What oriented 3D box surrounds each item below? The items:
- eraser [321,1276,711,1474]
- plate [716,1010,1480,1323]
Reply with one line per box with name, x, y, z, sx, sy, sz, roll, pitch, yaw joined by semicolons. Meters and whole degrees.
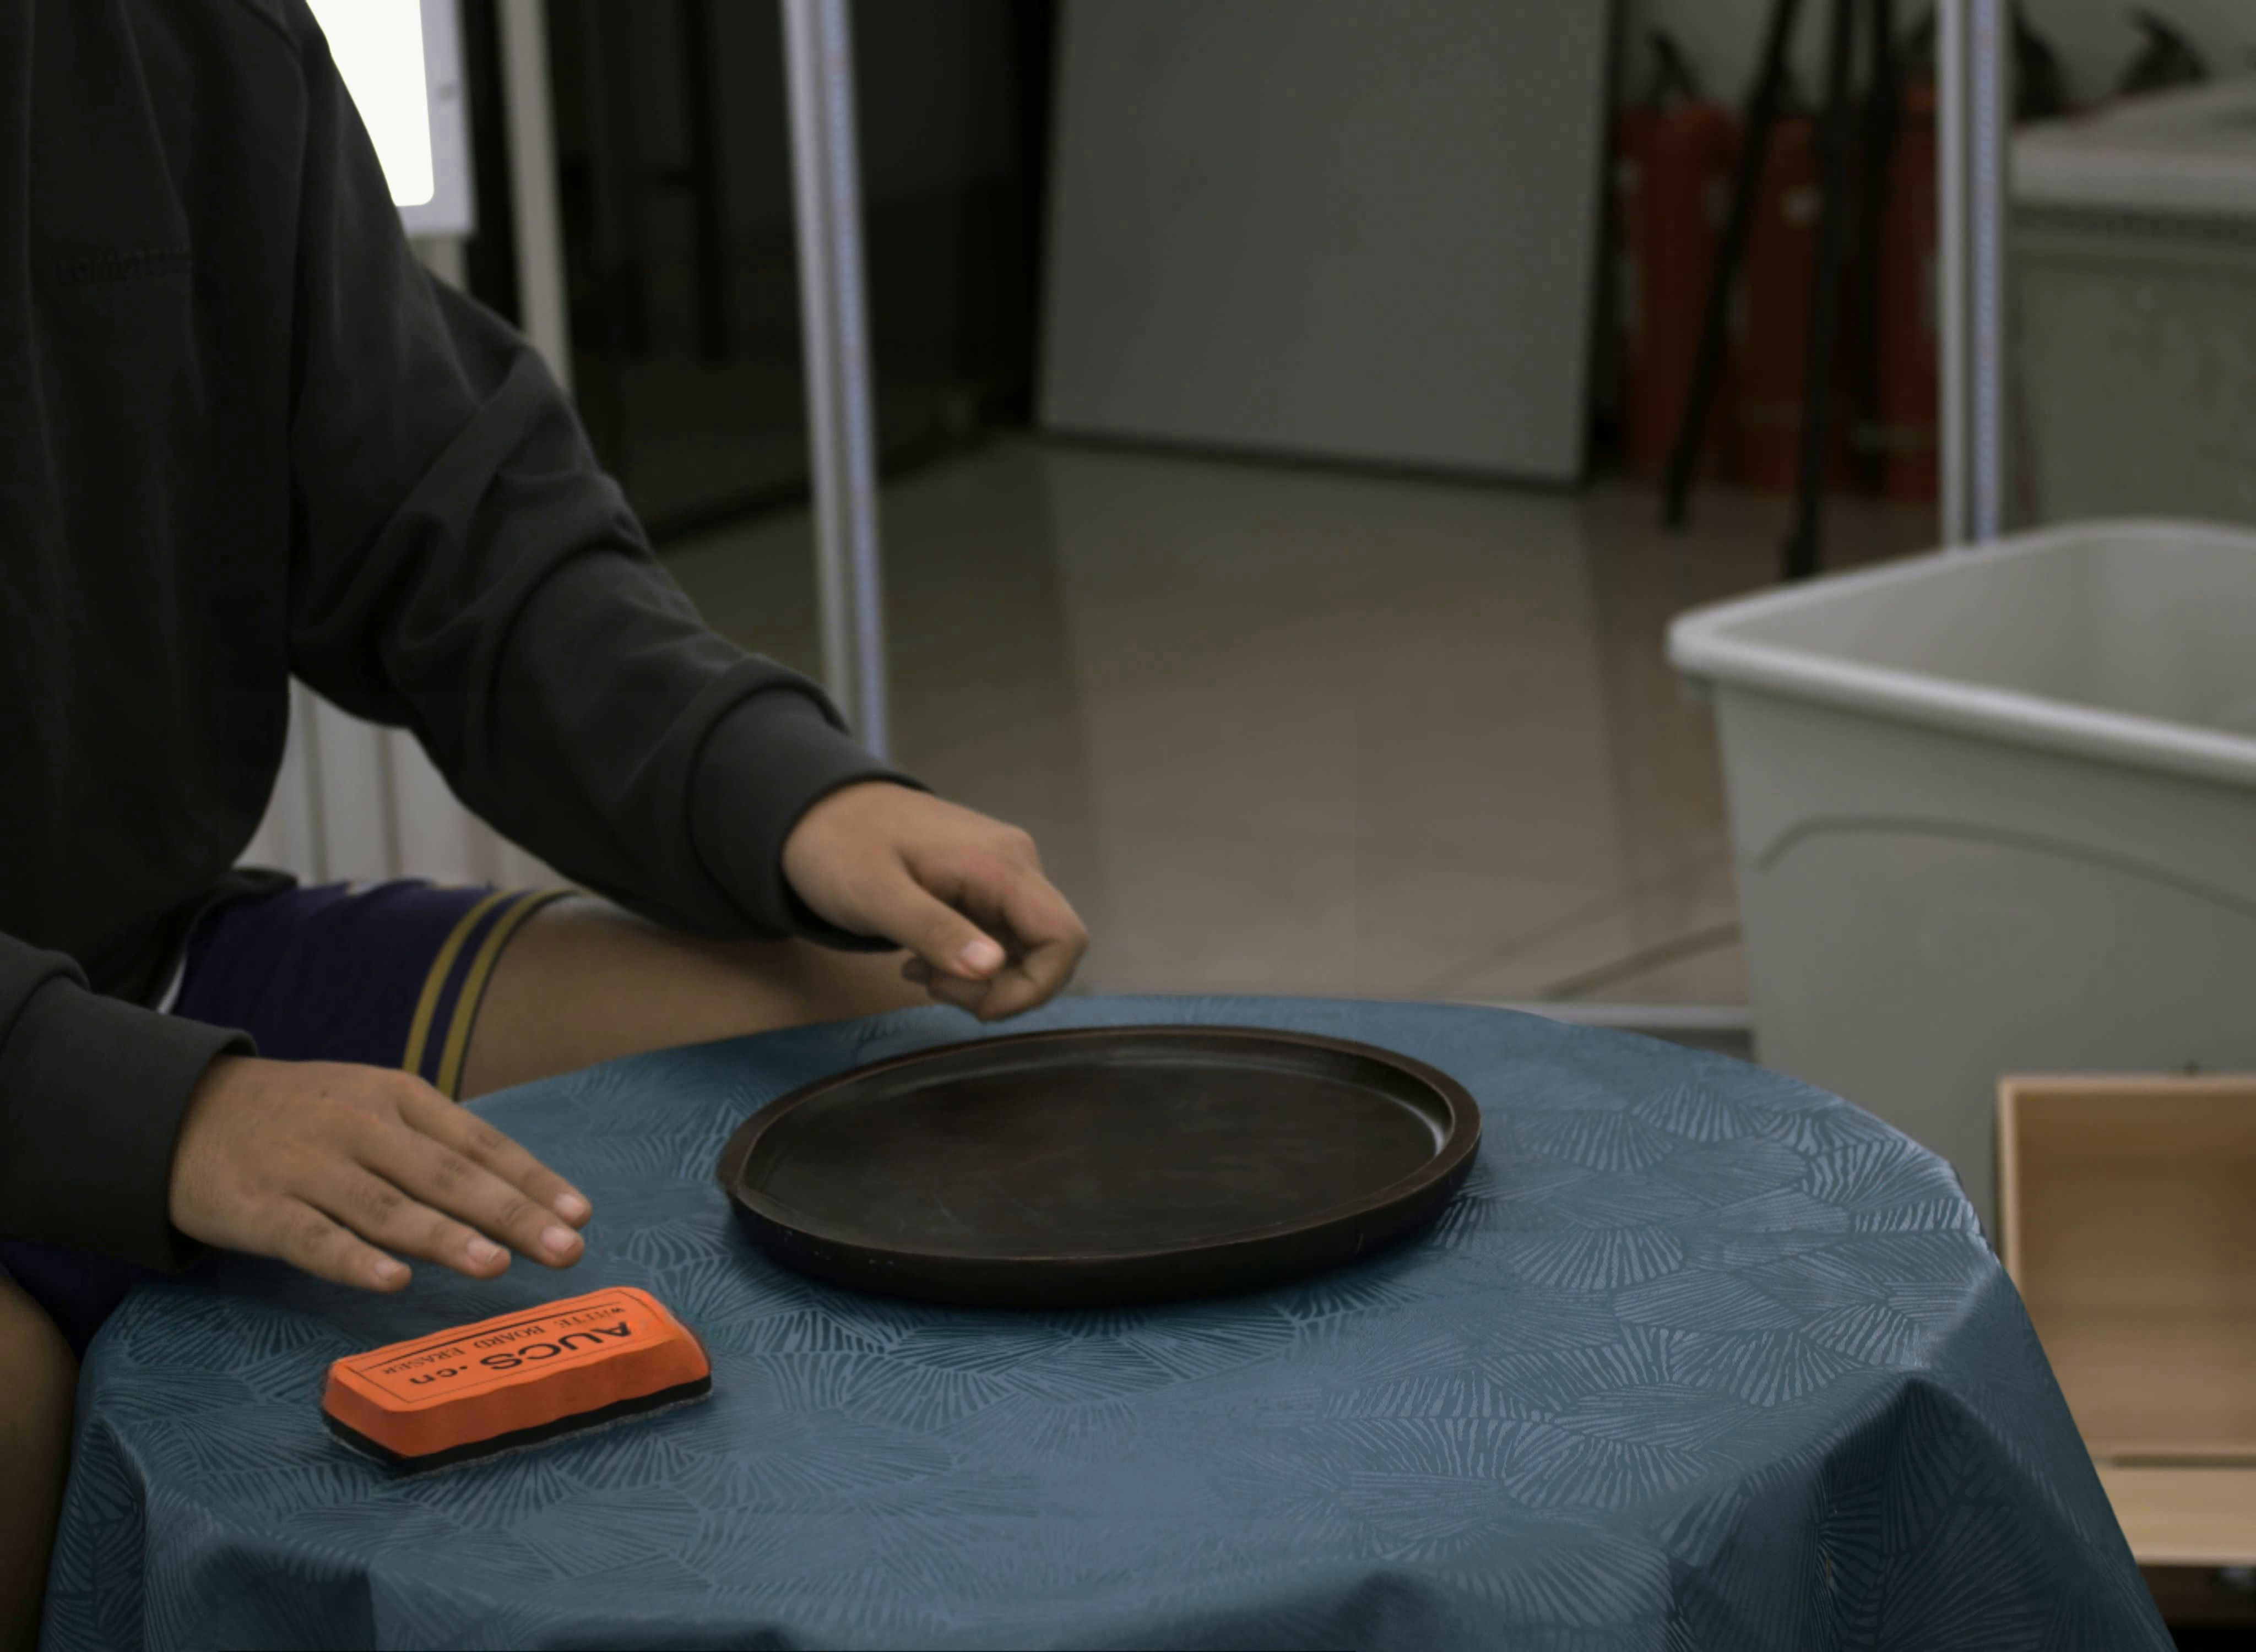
eraser;-0.179;0.161;1.593;0.106;0.023;0.059;-14;16;-31
plate;-0.009;0.112;1.763;0.251;0.029;0.255;-5;15;0
